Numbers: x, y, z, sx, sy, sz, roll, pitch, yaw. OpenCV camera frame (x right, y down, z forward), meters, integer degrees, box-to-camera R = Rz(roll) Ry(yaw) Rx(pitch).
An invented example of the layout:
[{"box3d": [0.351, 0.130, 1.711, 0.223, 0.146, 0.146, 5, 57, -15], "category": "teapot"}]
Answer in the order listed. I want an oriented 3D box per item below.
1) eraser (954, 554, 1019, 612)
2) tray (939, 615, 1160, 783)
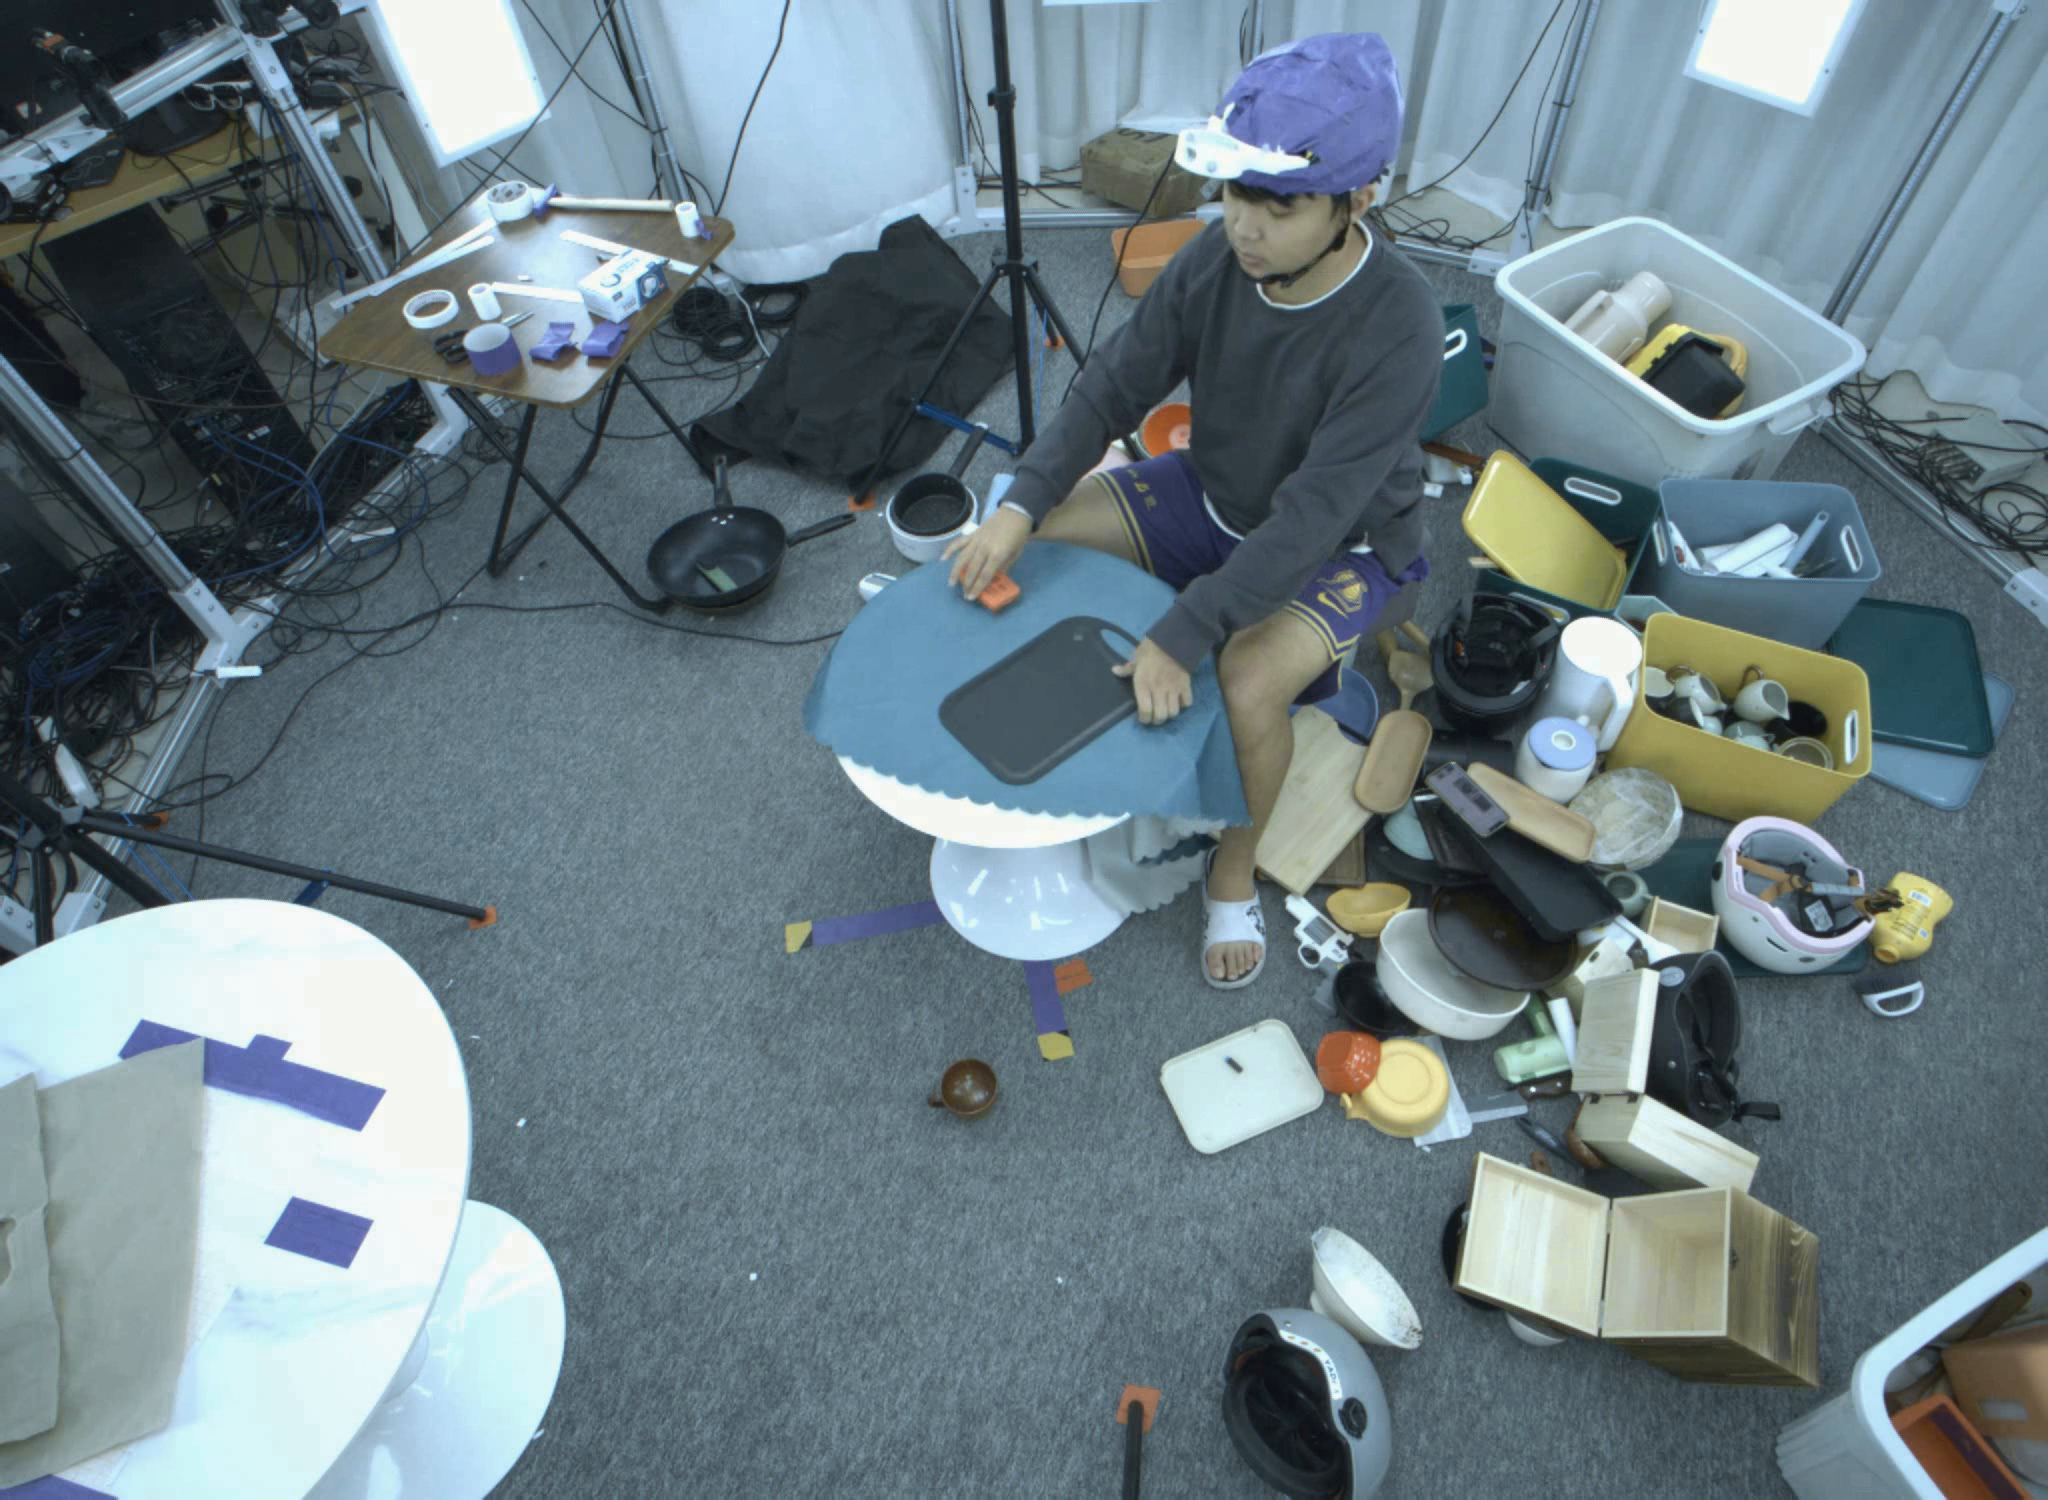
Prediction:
[{"box3d": [-0.060, -0.269, 1.965, 0.059, 0.023, 0.106, -35, 62, -20], "category": "eraser"}, {"box3d": [0.044, -0.089, 1.848, 0.328, 0.010, 0.207, -34, 61, -21], "category": "tray"}]
